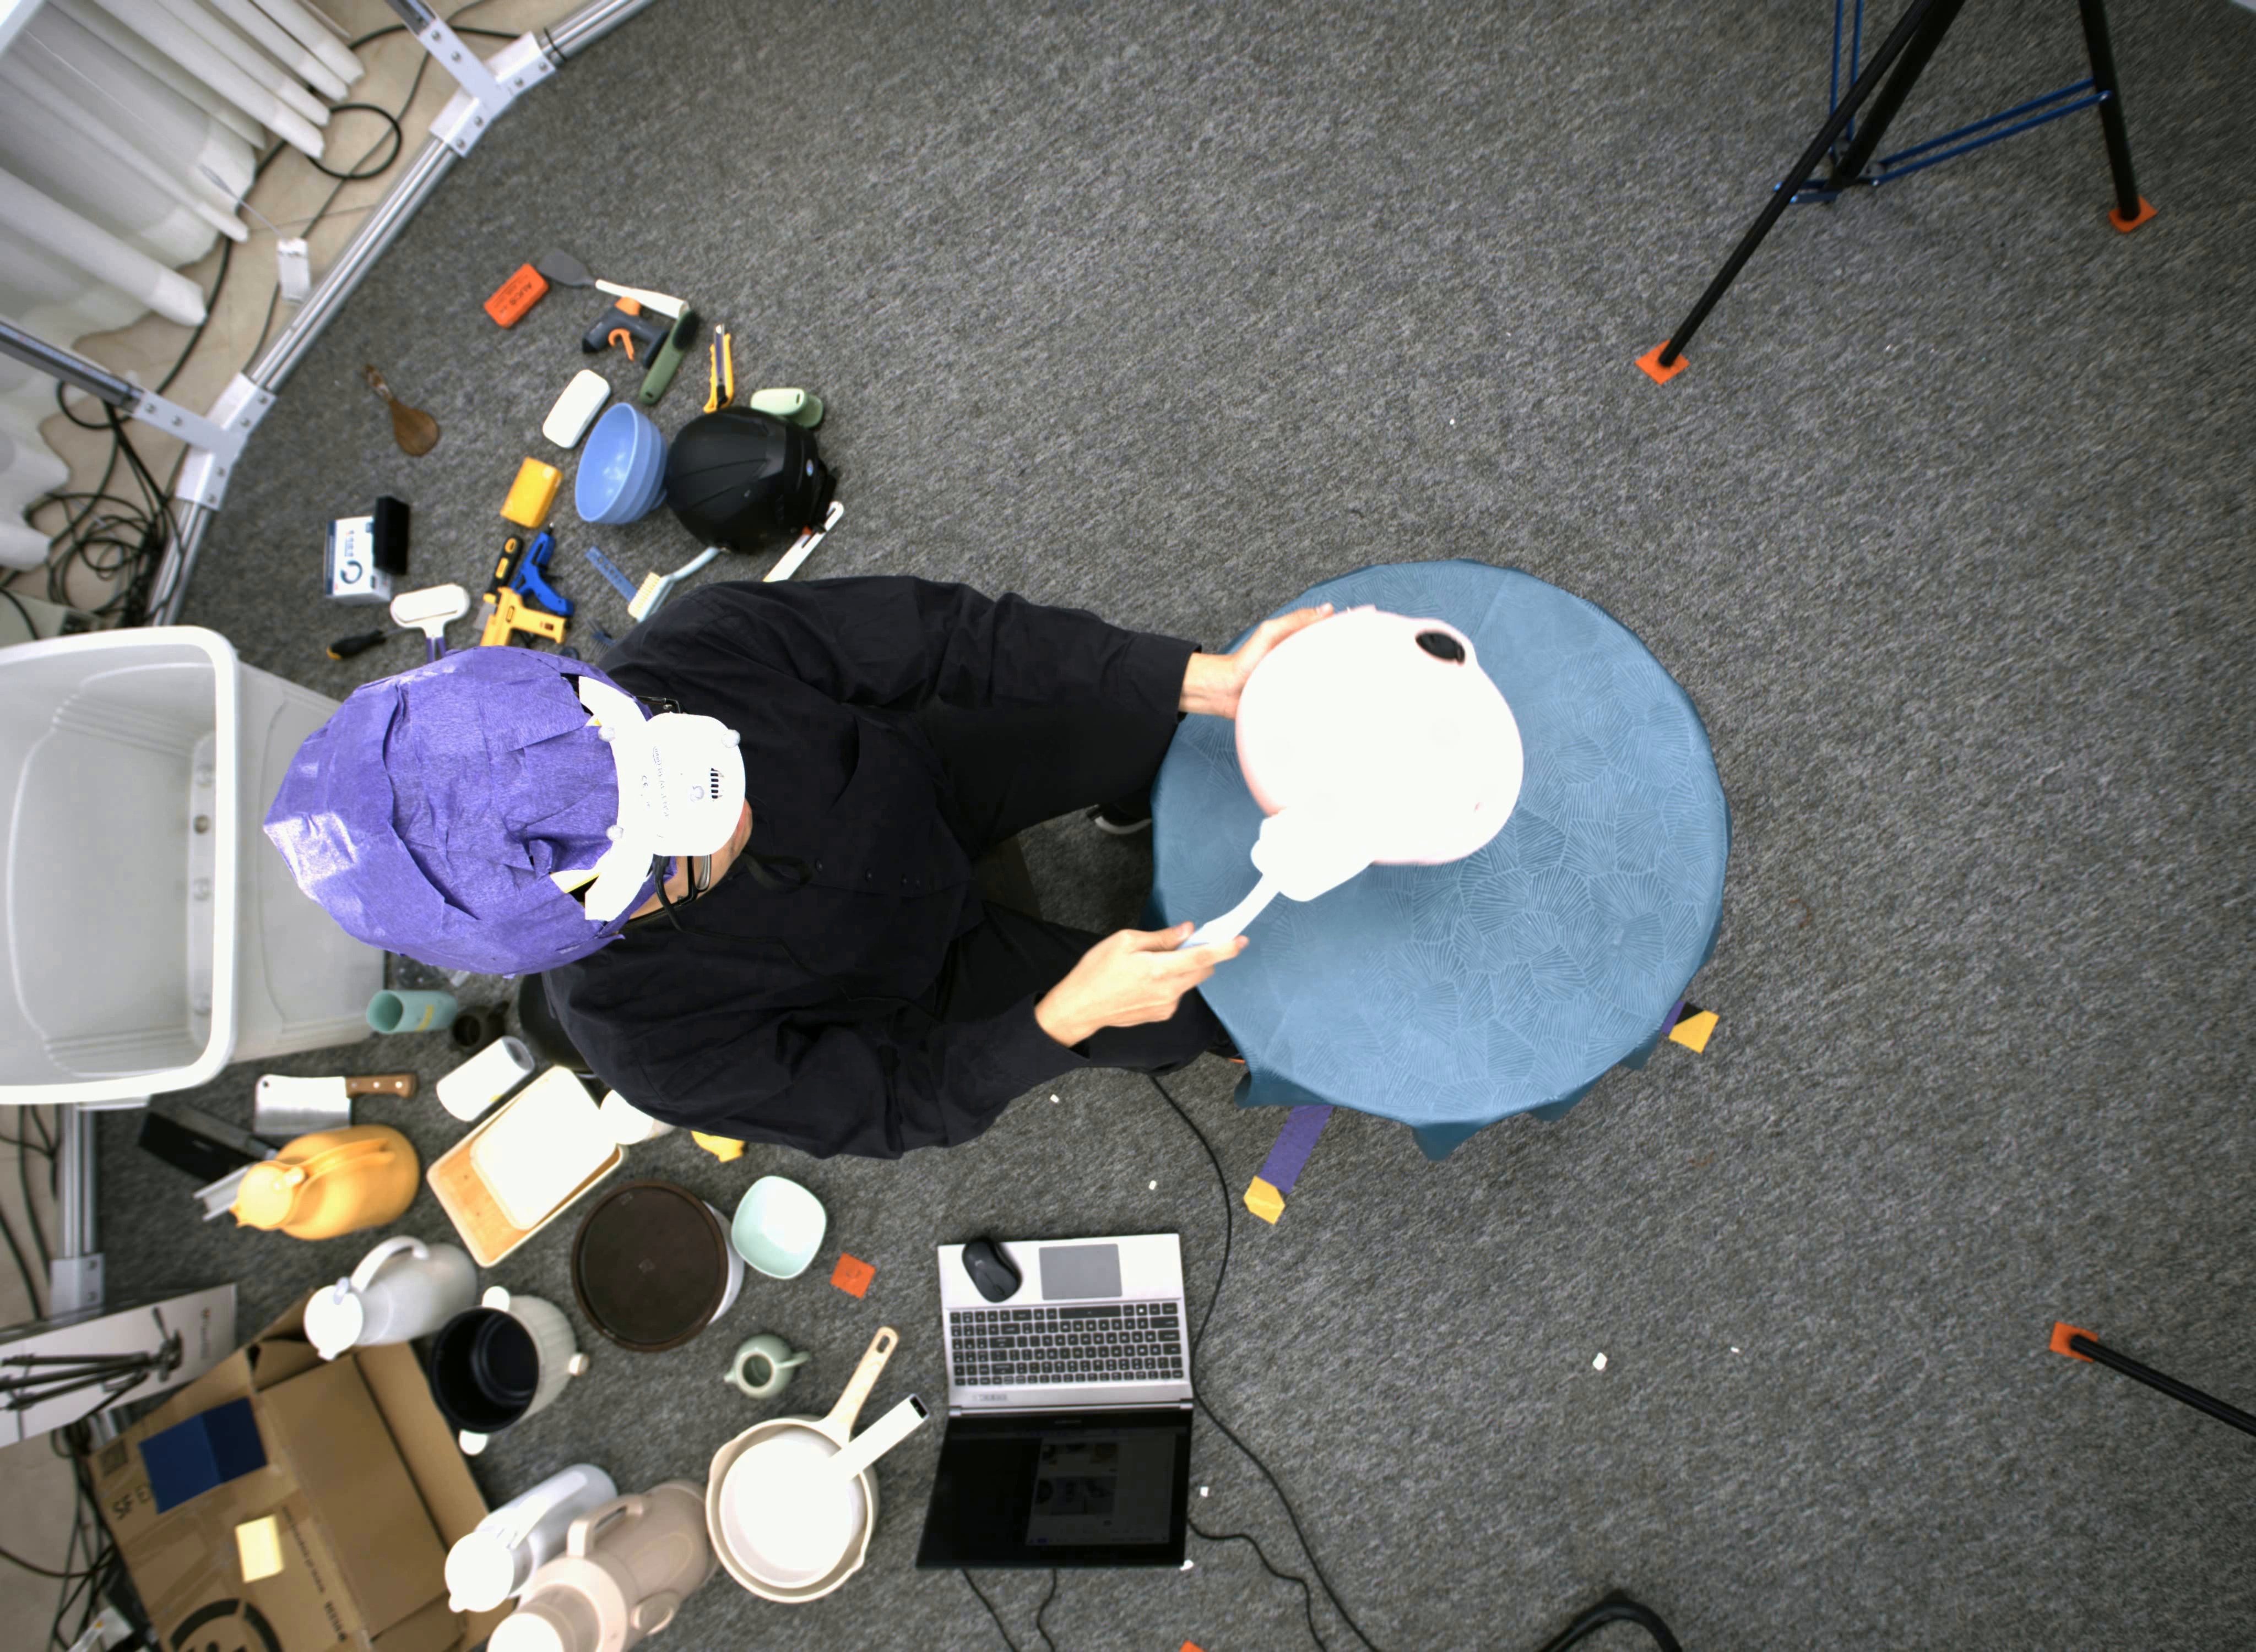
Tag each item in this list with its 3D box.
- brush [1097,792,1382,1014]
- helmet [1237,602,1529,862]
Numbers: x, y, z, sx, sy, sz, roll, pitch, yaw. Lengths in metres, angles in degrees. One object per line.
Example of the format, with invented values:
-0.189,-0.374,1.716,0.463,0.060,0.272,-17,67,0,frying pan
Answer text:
0.090,0.061,1.226,0.332,0.084,0.082,-37,73,32,brush
0.203,-0.074,1.216,0.264,0.156,0.239,33,124,31,helmet
